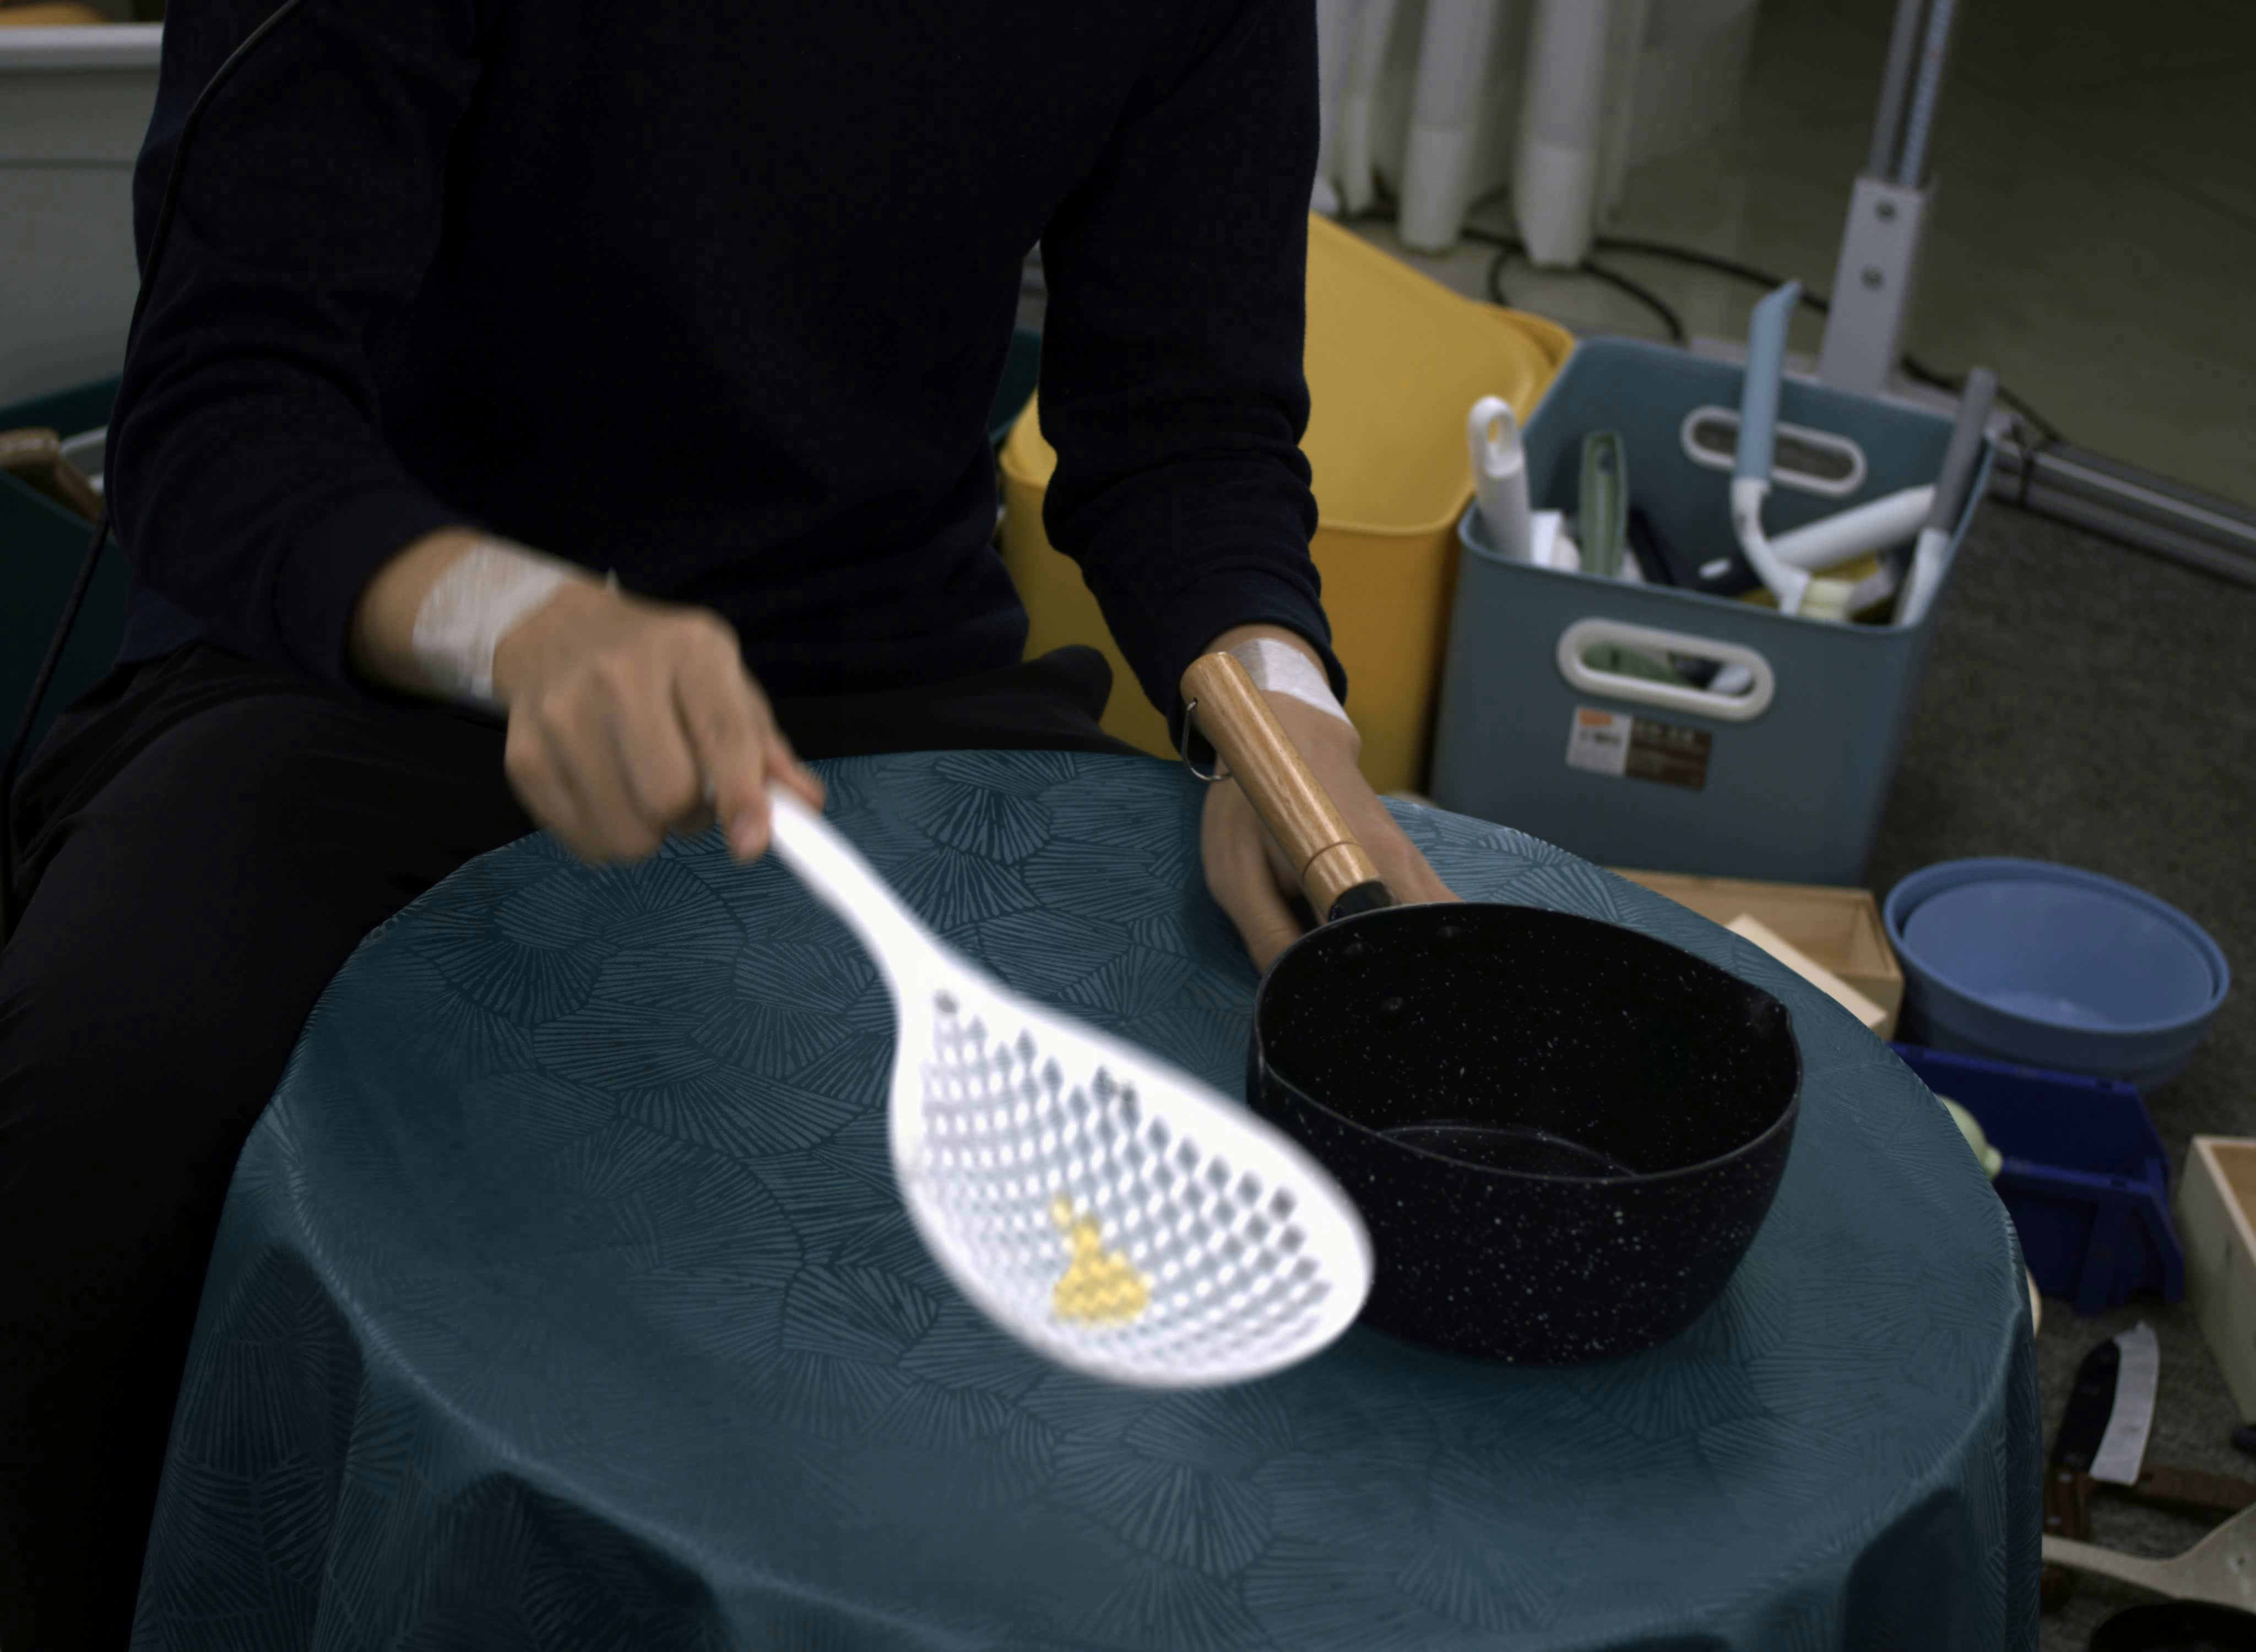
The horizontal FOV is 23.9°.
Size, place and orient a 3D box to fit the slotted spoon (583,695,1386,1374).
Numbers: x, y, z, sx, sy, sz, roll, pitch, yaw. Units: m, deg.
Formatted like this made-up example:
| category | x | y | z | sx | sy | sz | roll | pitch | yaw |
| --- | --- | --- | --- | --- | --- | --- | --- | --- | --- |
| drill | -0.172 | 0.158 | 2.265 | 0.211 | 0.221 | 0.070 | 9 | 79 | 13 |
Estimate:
| category | x | y | z | sx | sy | sz | roll | pitch | yaw |
| --- | --- | --- | --- | --- | --- | --- | --- | --- | --- |
| slotted spoon | -0.060 | 0.053 | 1.614 | 0.136 | 0.050 | 0.351 | -15 | 50 | -36 |

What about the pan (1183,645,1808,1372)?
| category | x | y | z | sx | sy | sz | roll | pitch | yaw |
| --- | --- | --- | --- | --- | --- | --- | --- | --- | --- |
| pan | 0.094 | 0.059 | 1.831 | 0.206 | 0.108 | 0.346 | -8 | 32 | -25 |
